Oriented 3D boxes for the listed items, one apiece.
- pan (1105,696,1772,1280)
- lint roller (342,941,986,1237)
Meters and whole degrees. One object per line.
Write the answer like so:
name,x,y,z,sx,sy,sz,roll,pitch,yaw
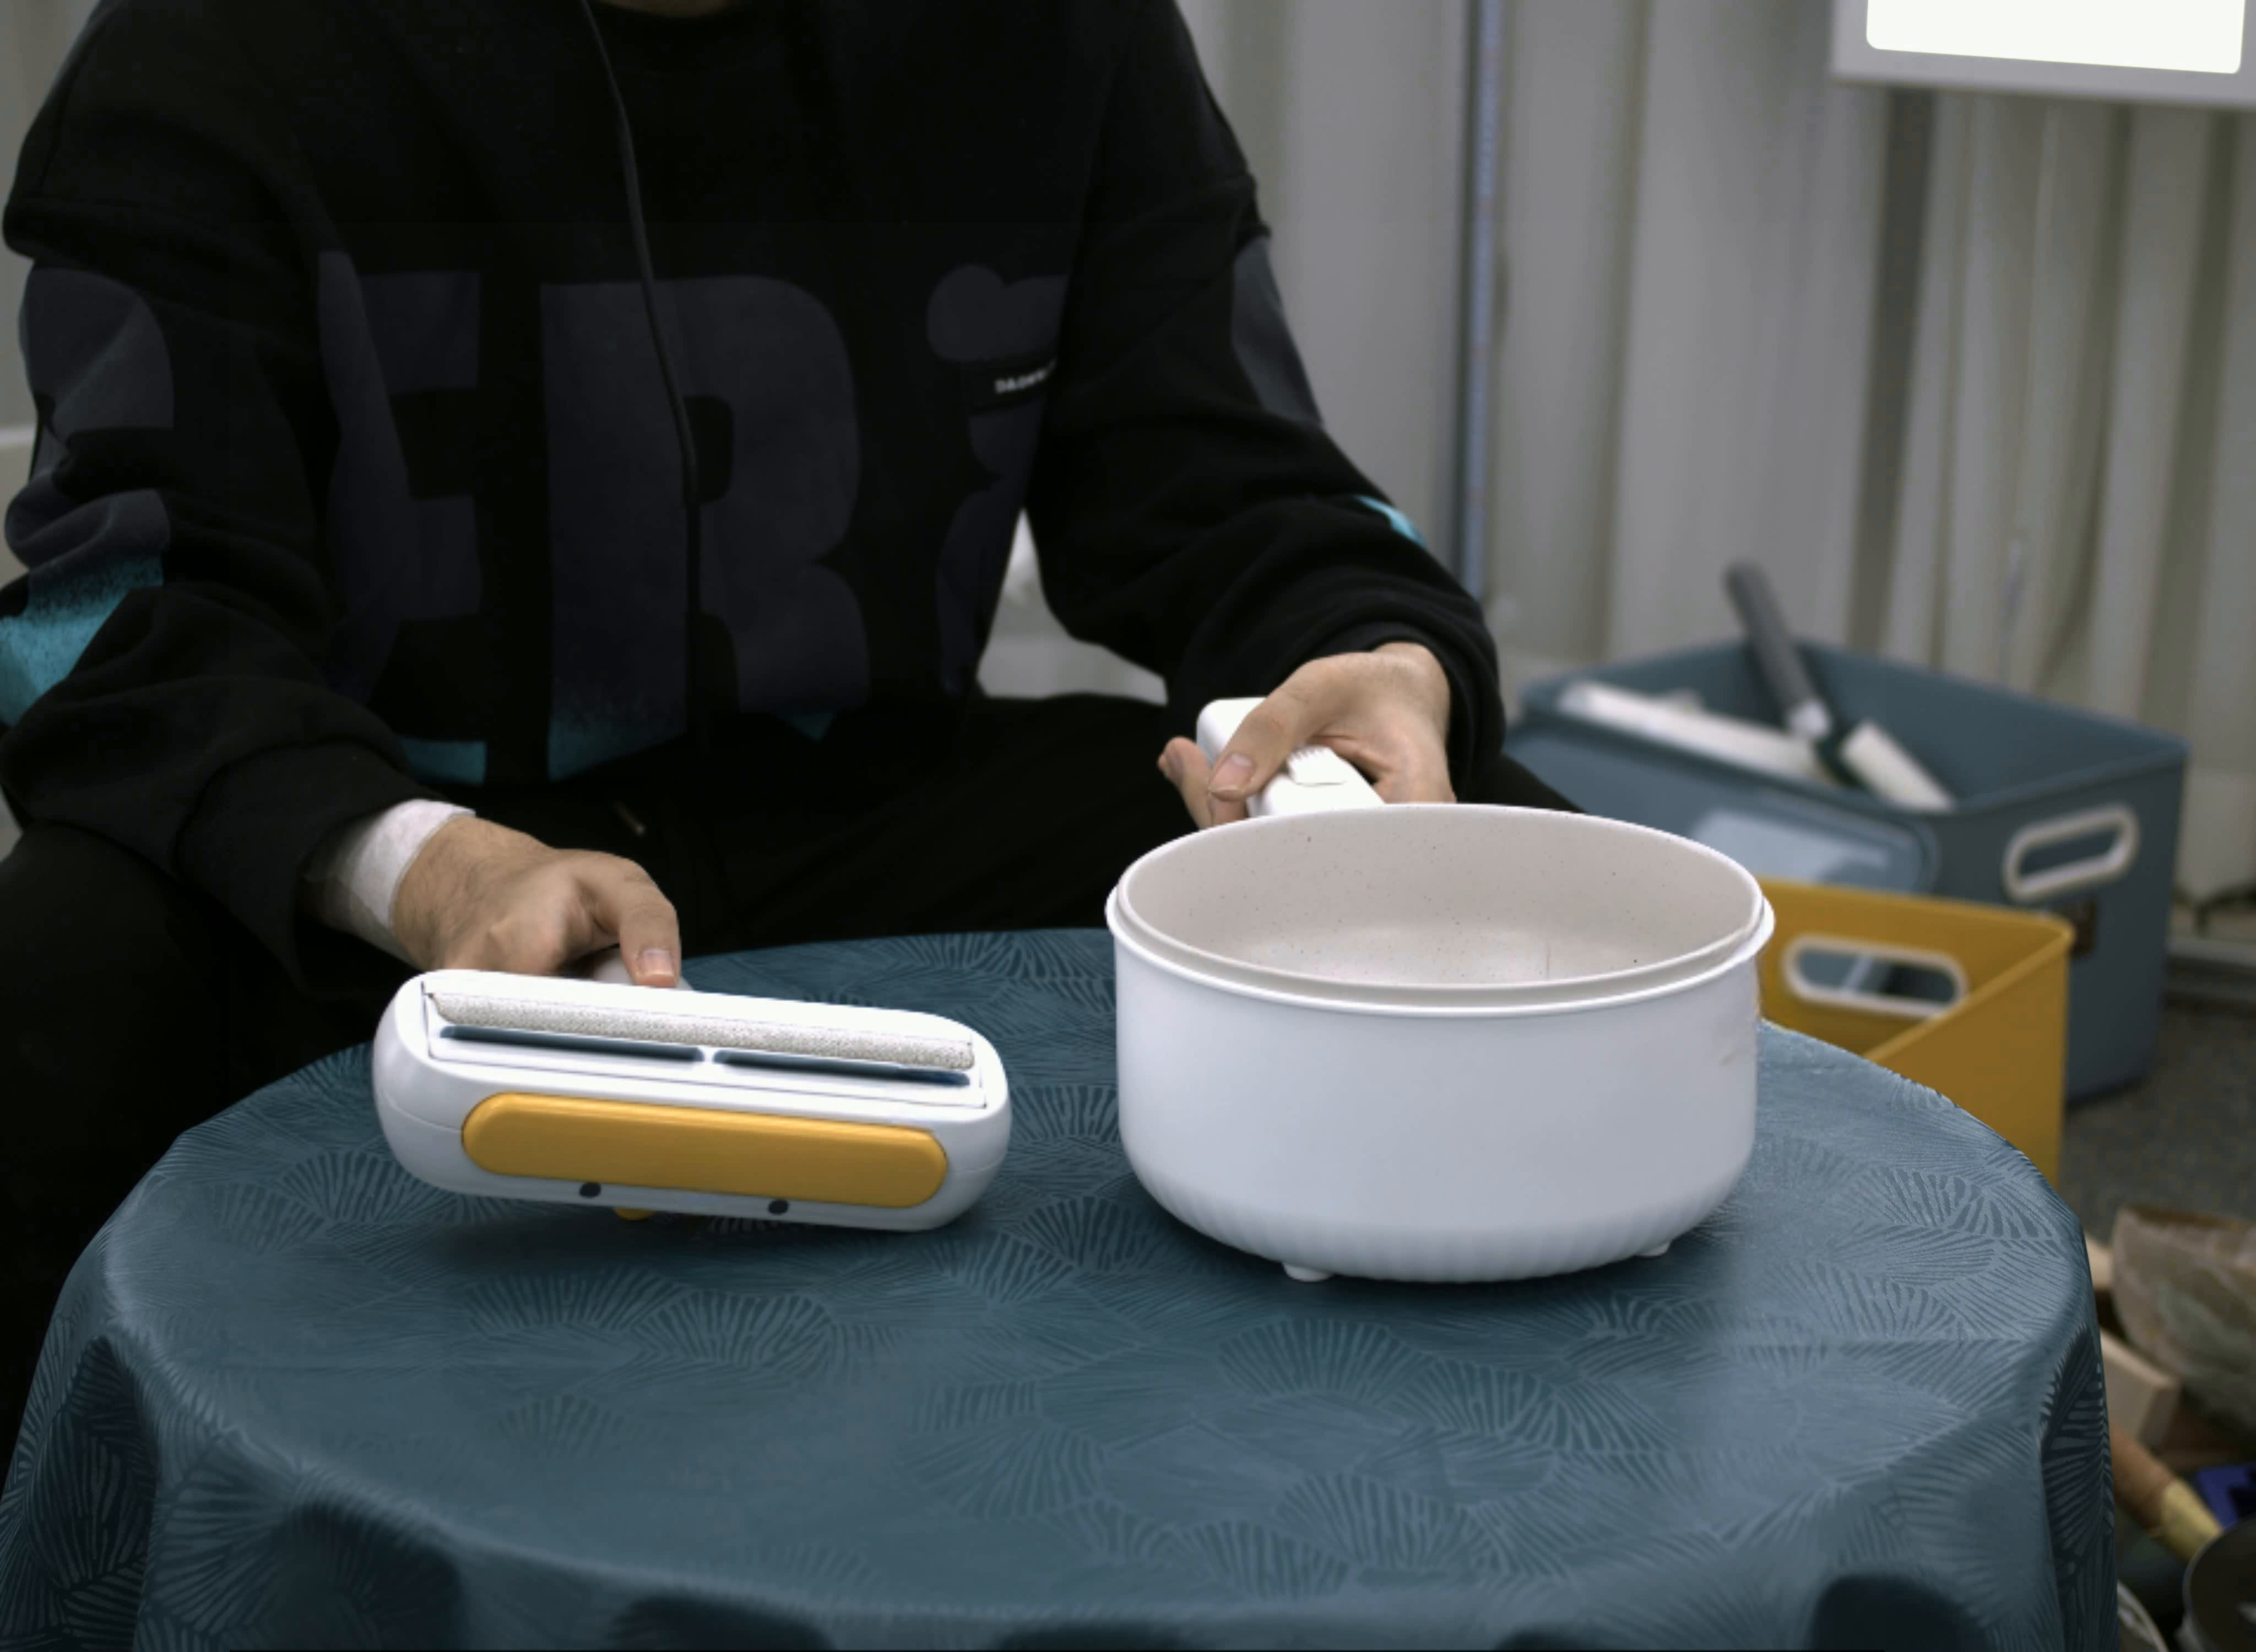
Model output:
pan,0.078,0.047,1.667,0.201,0.103,0.351,-3,16,-12
lint roller,-0.146,0.066,1.627,0.193,0.075,0.190,3,22,-10
